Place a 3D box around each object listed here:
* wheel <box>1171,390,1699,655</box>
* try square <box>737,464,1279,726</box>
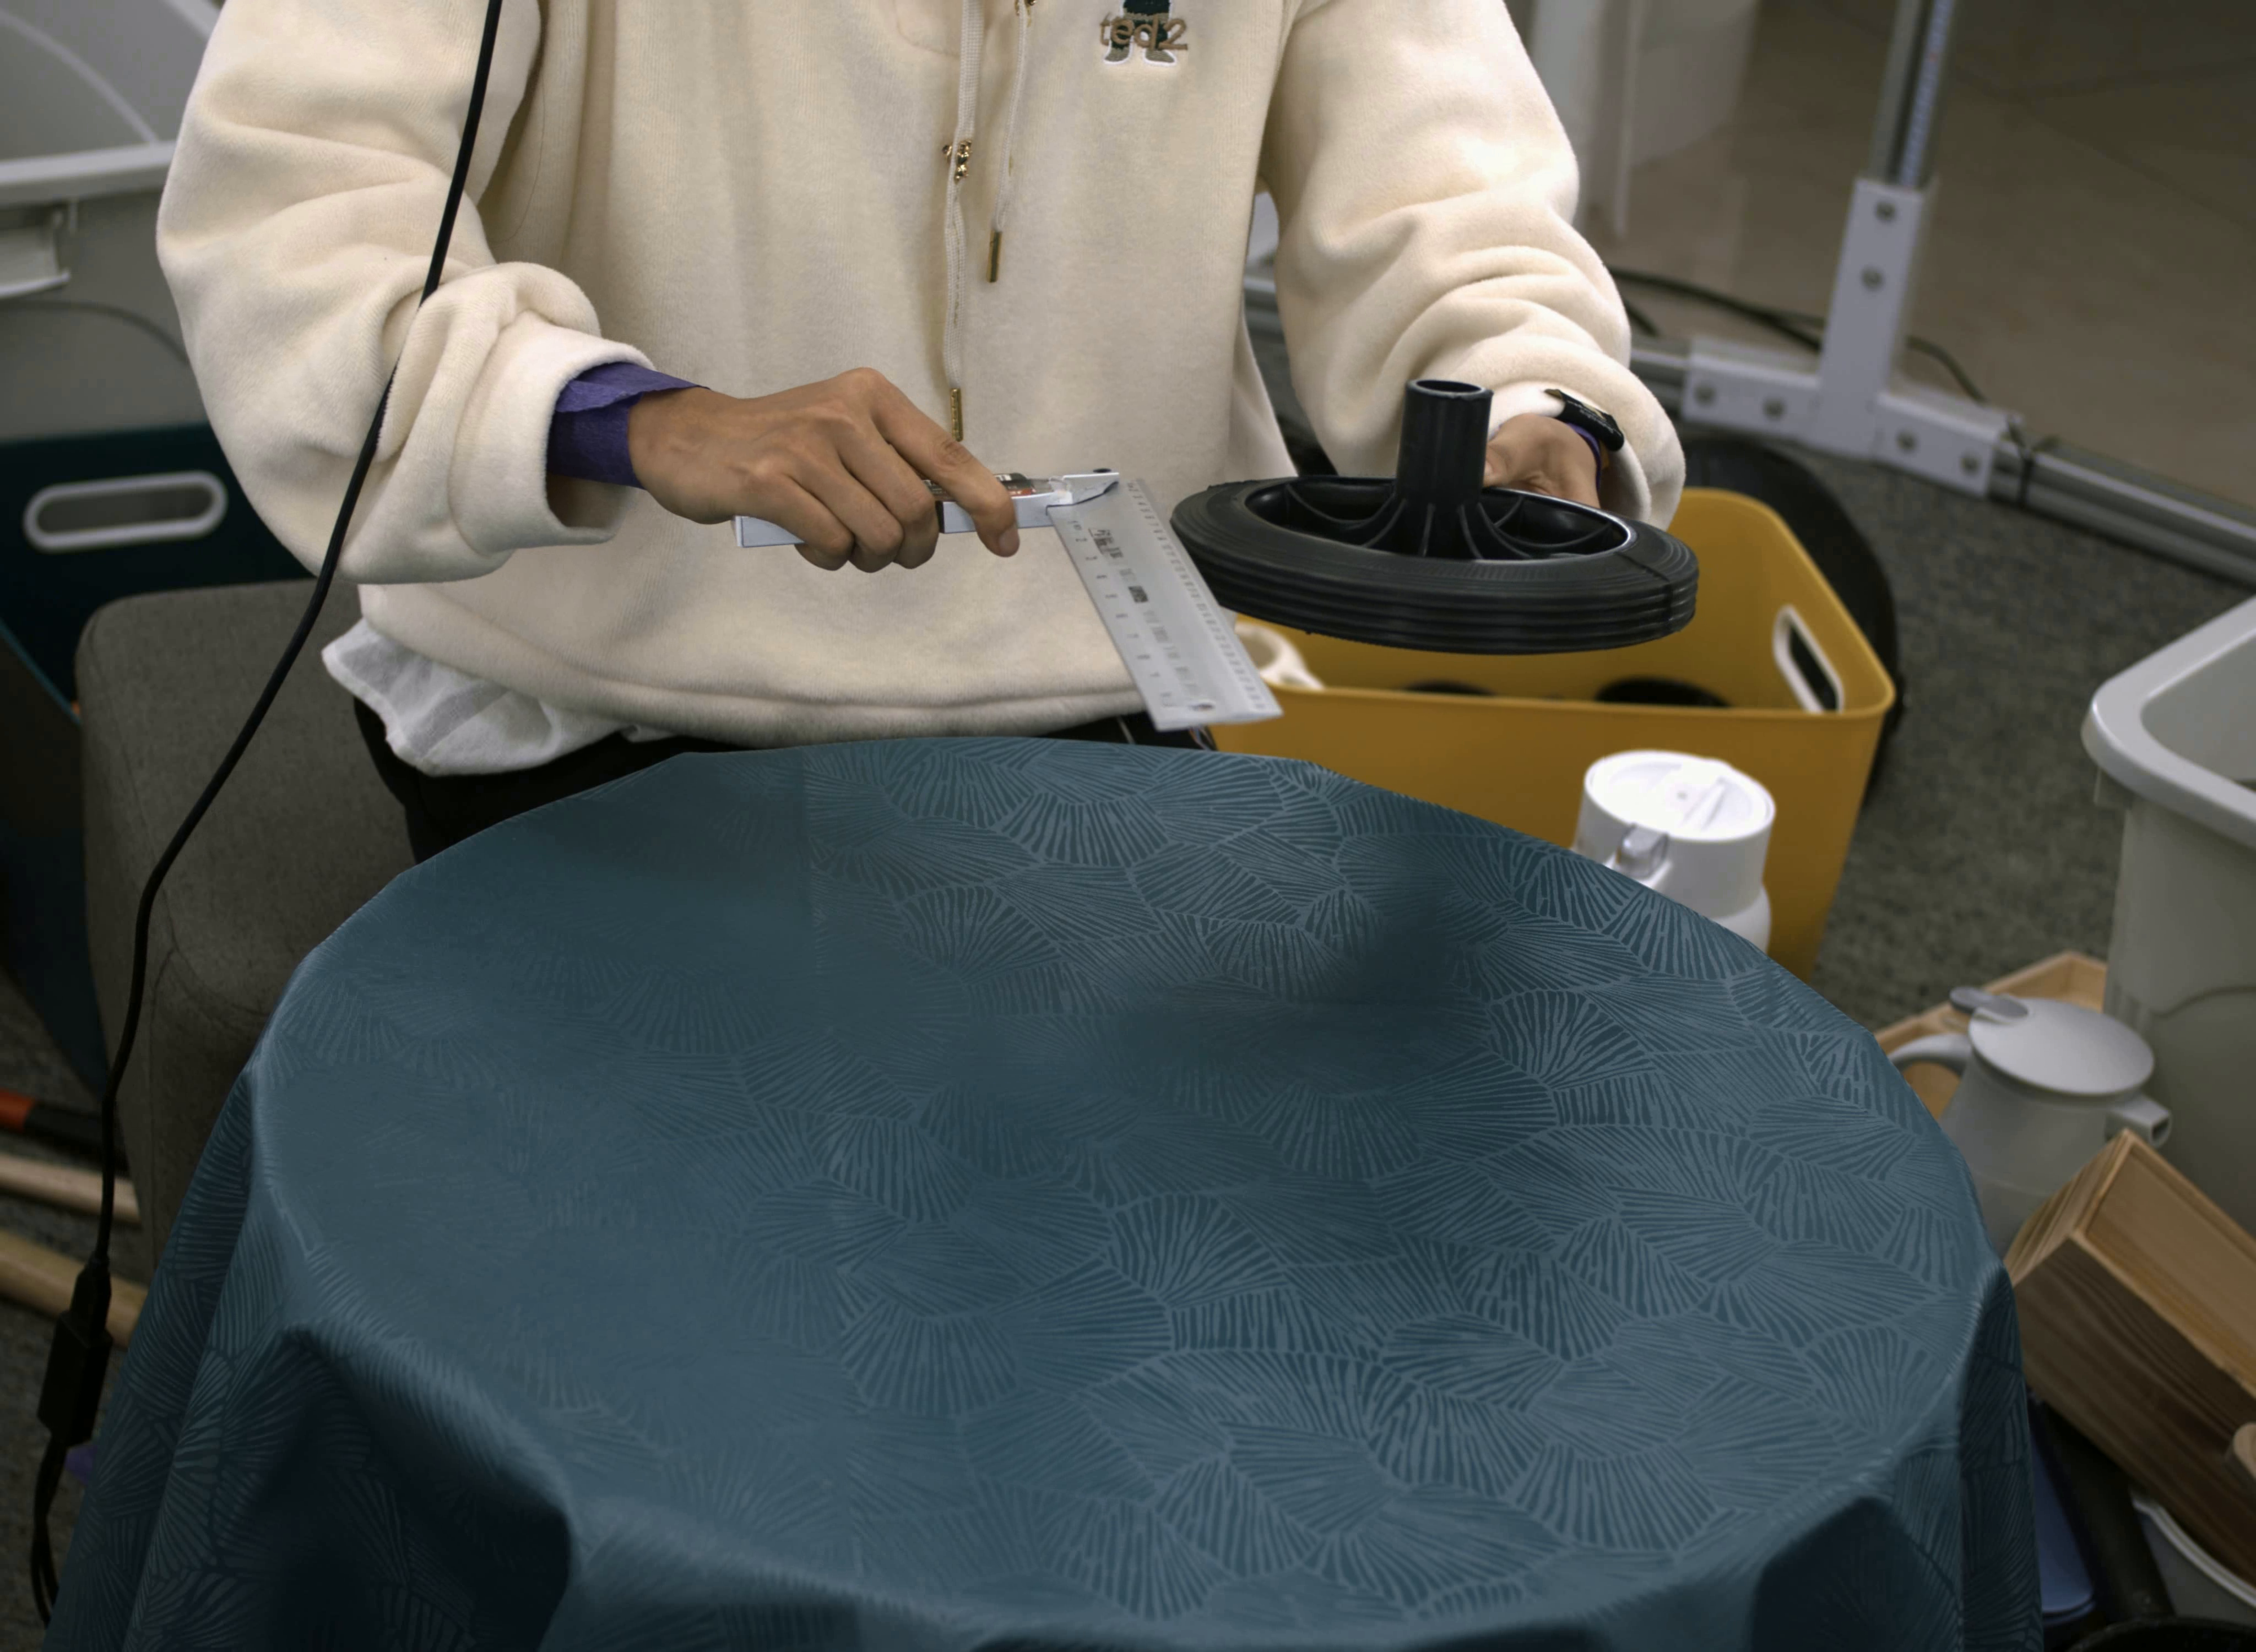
[{"bbox_3d":[0.109,-0.112,1.873,0.188,0.079,0.189,-1,16,-22],"label":"wheel"},{"bbox_3d":[-0.047,-0.072,1.784,0.152,0.016,0.314,-8,18,-5],"label":"try square"}]
